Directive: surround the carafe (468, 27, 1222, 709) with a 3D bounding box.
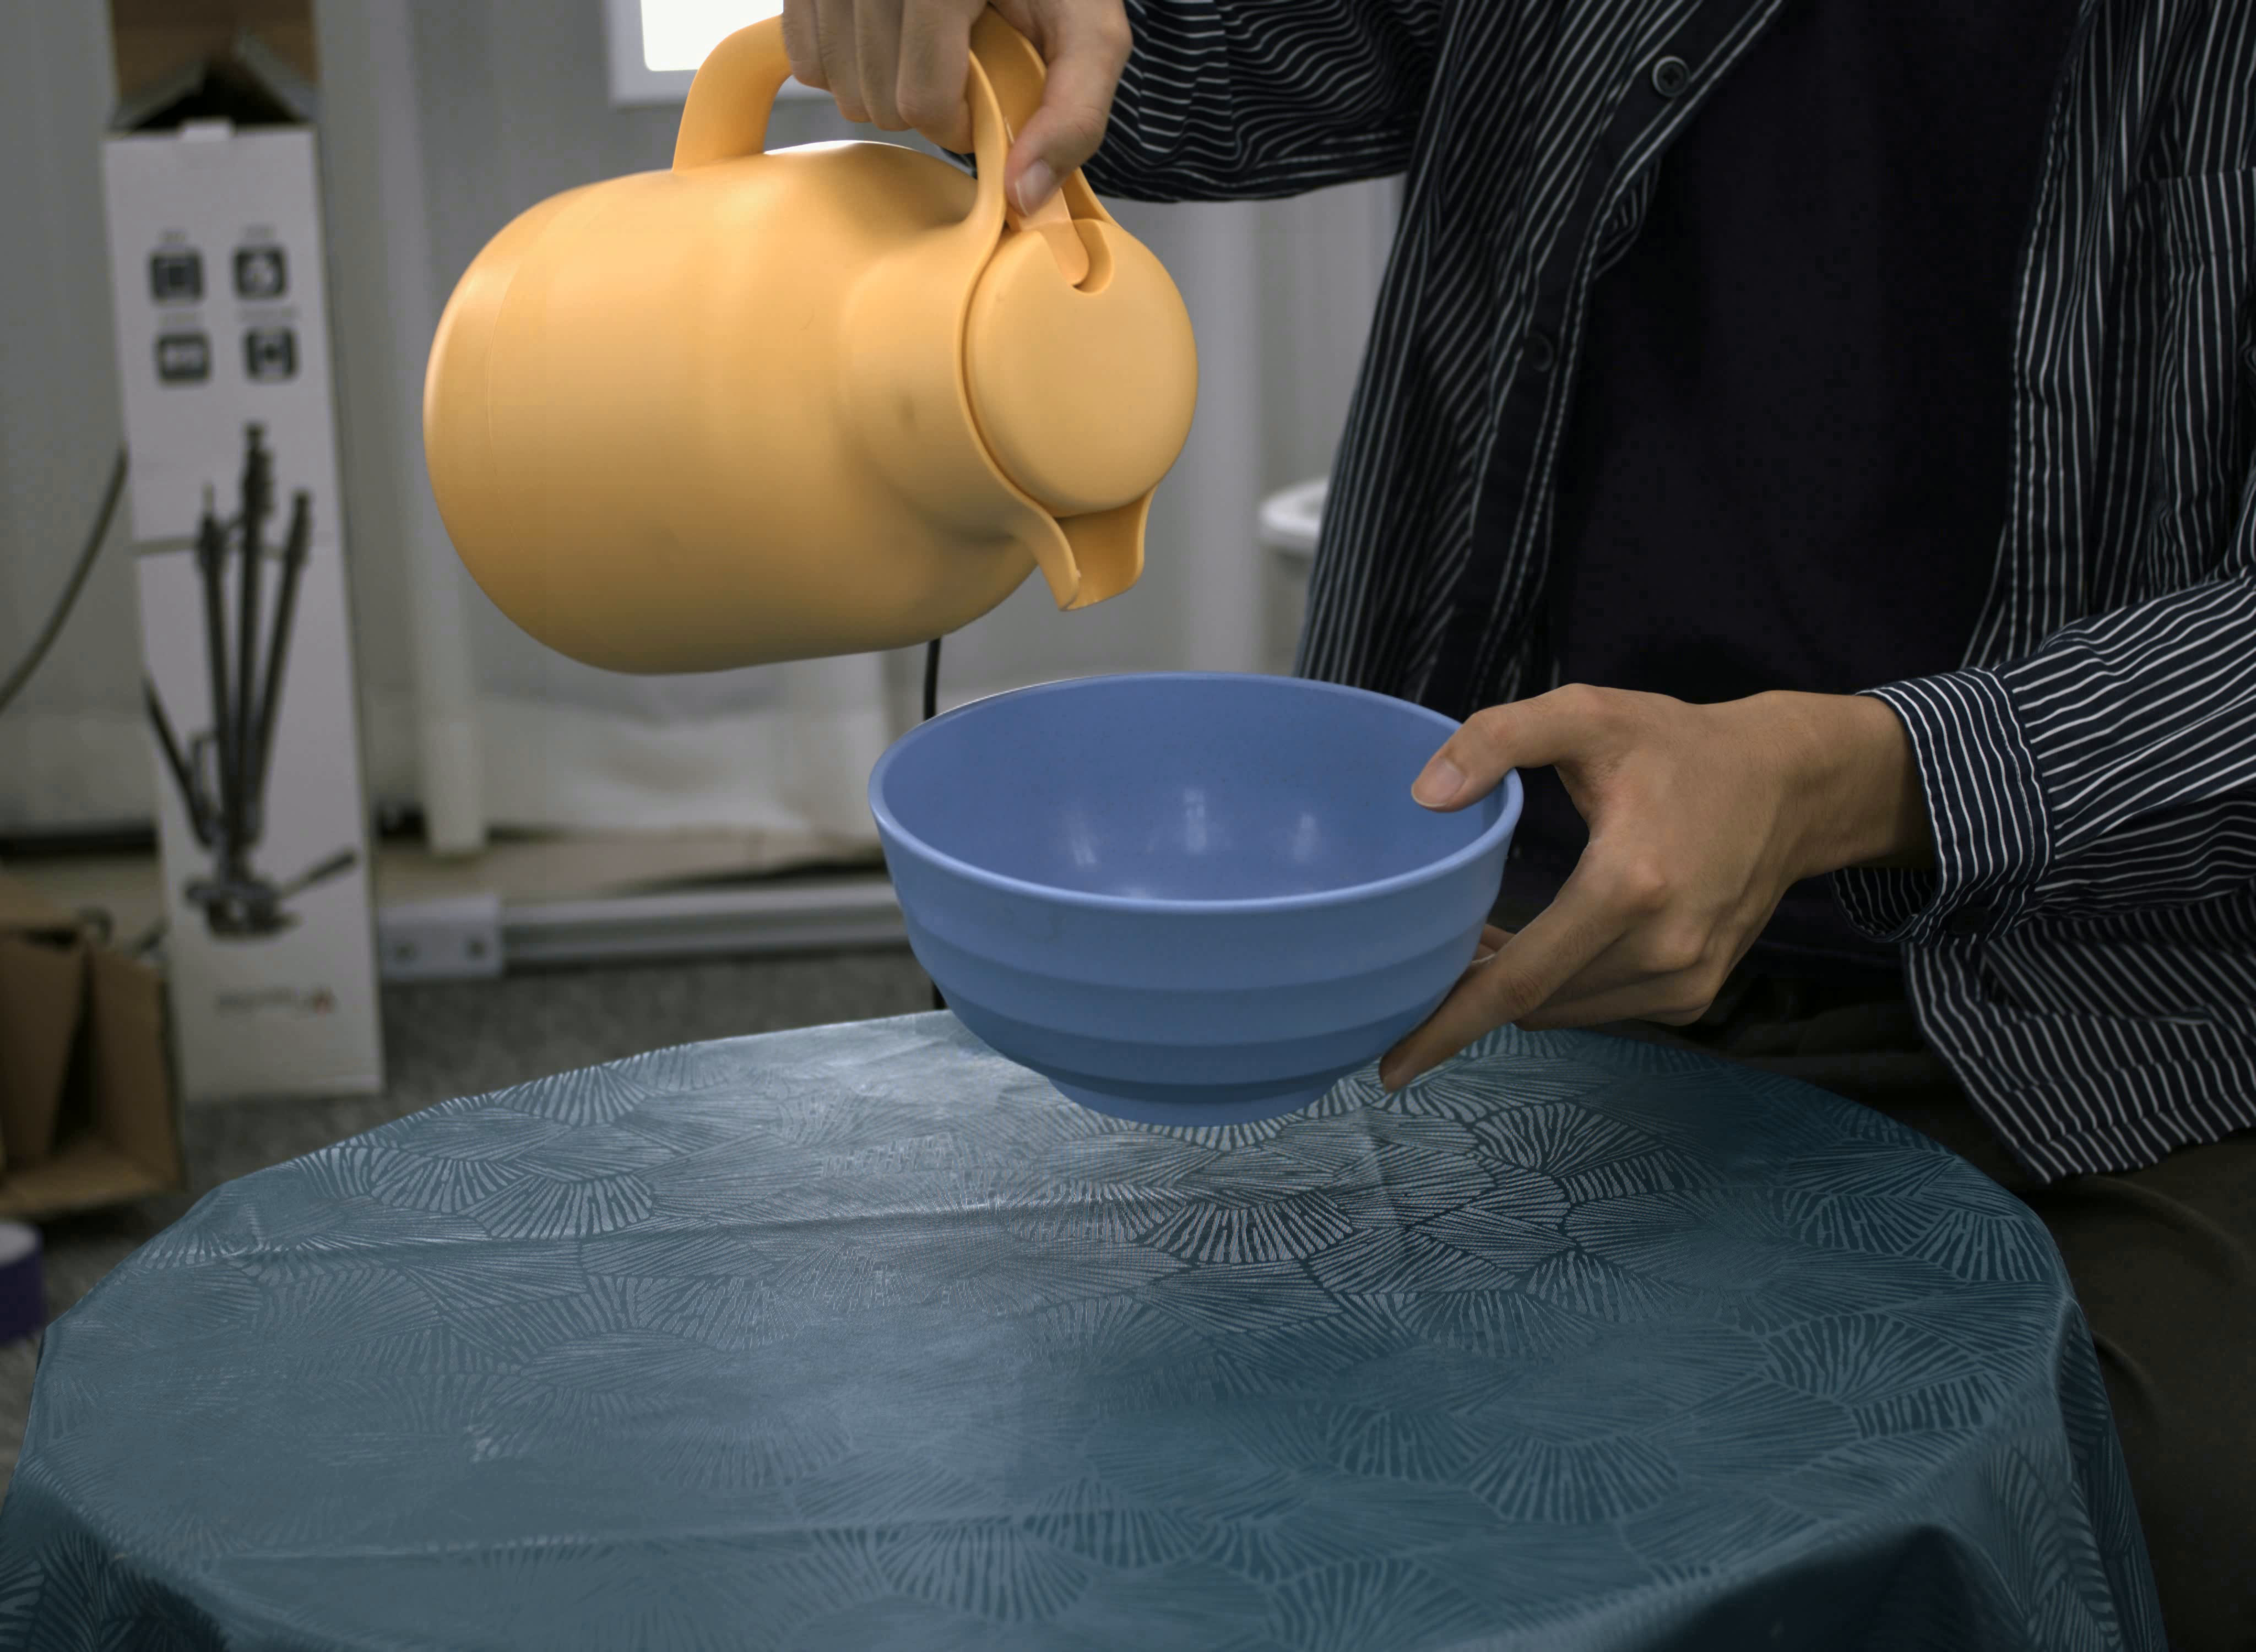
[{"bbox_3d":[-0.086,-0.144,1.738,0.163,0.202,0.261,-14,6,-41],"label":"carafe"}]

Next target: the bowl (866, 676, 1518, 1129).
[{"bbox_3d":[0.019,0.030,1.659,0.196,0.095,0.198,0,21,0],"label":"bowl"}]
